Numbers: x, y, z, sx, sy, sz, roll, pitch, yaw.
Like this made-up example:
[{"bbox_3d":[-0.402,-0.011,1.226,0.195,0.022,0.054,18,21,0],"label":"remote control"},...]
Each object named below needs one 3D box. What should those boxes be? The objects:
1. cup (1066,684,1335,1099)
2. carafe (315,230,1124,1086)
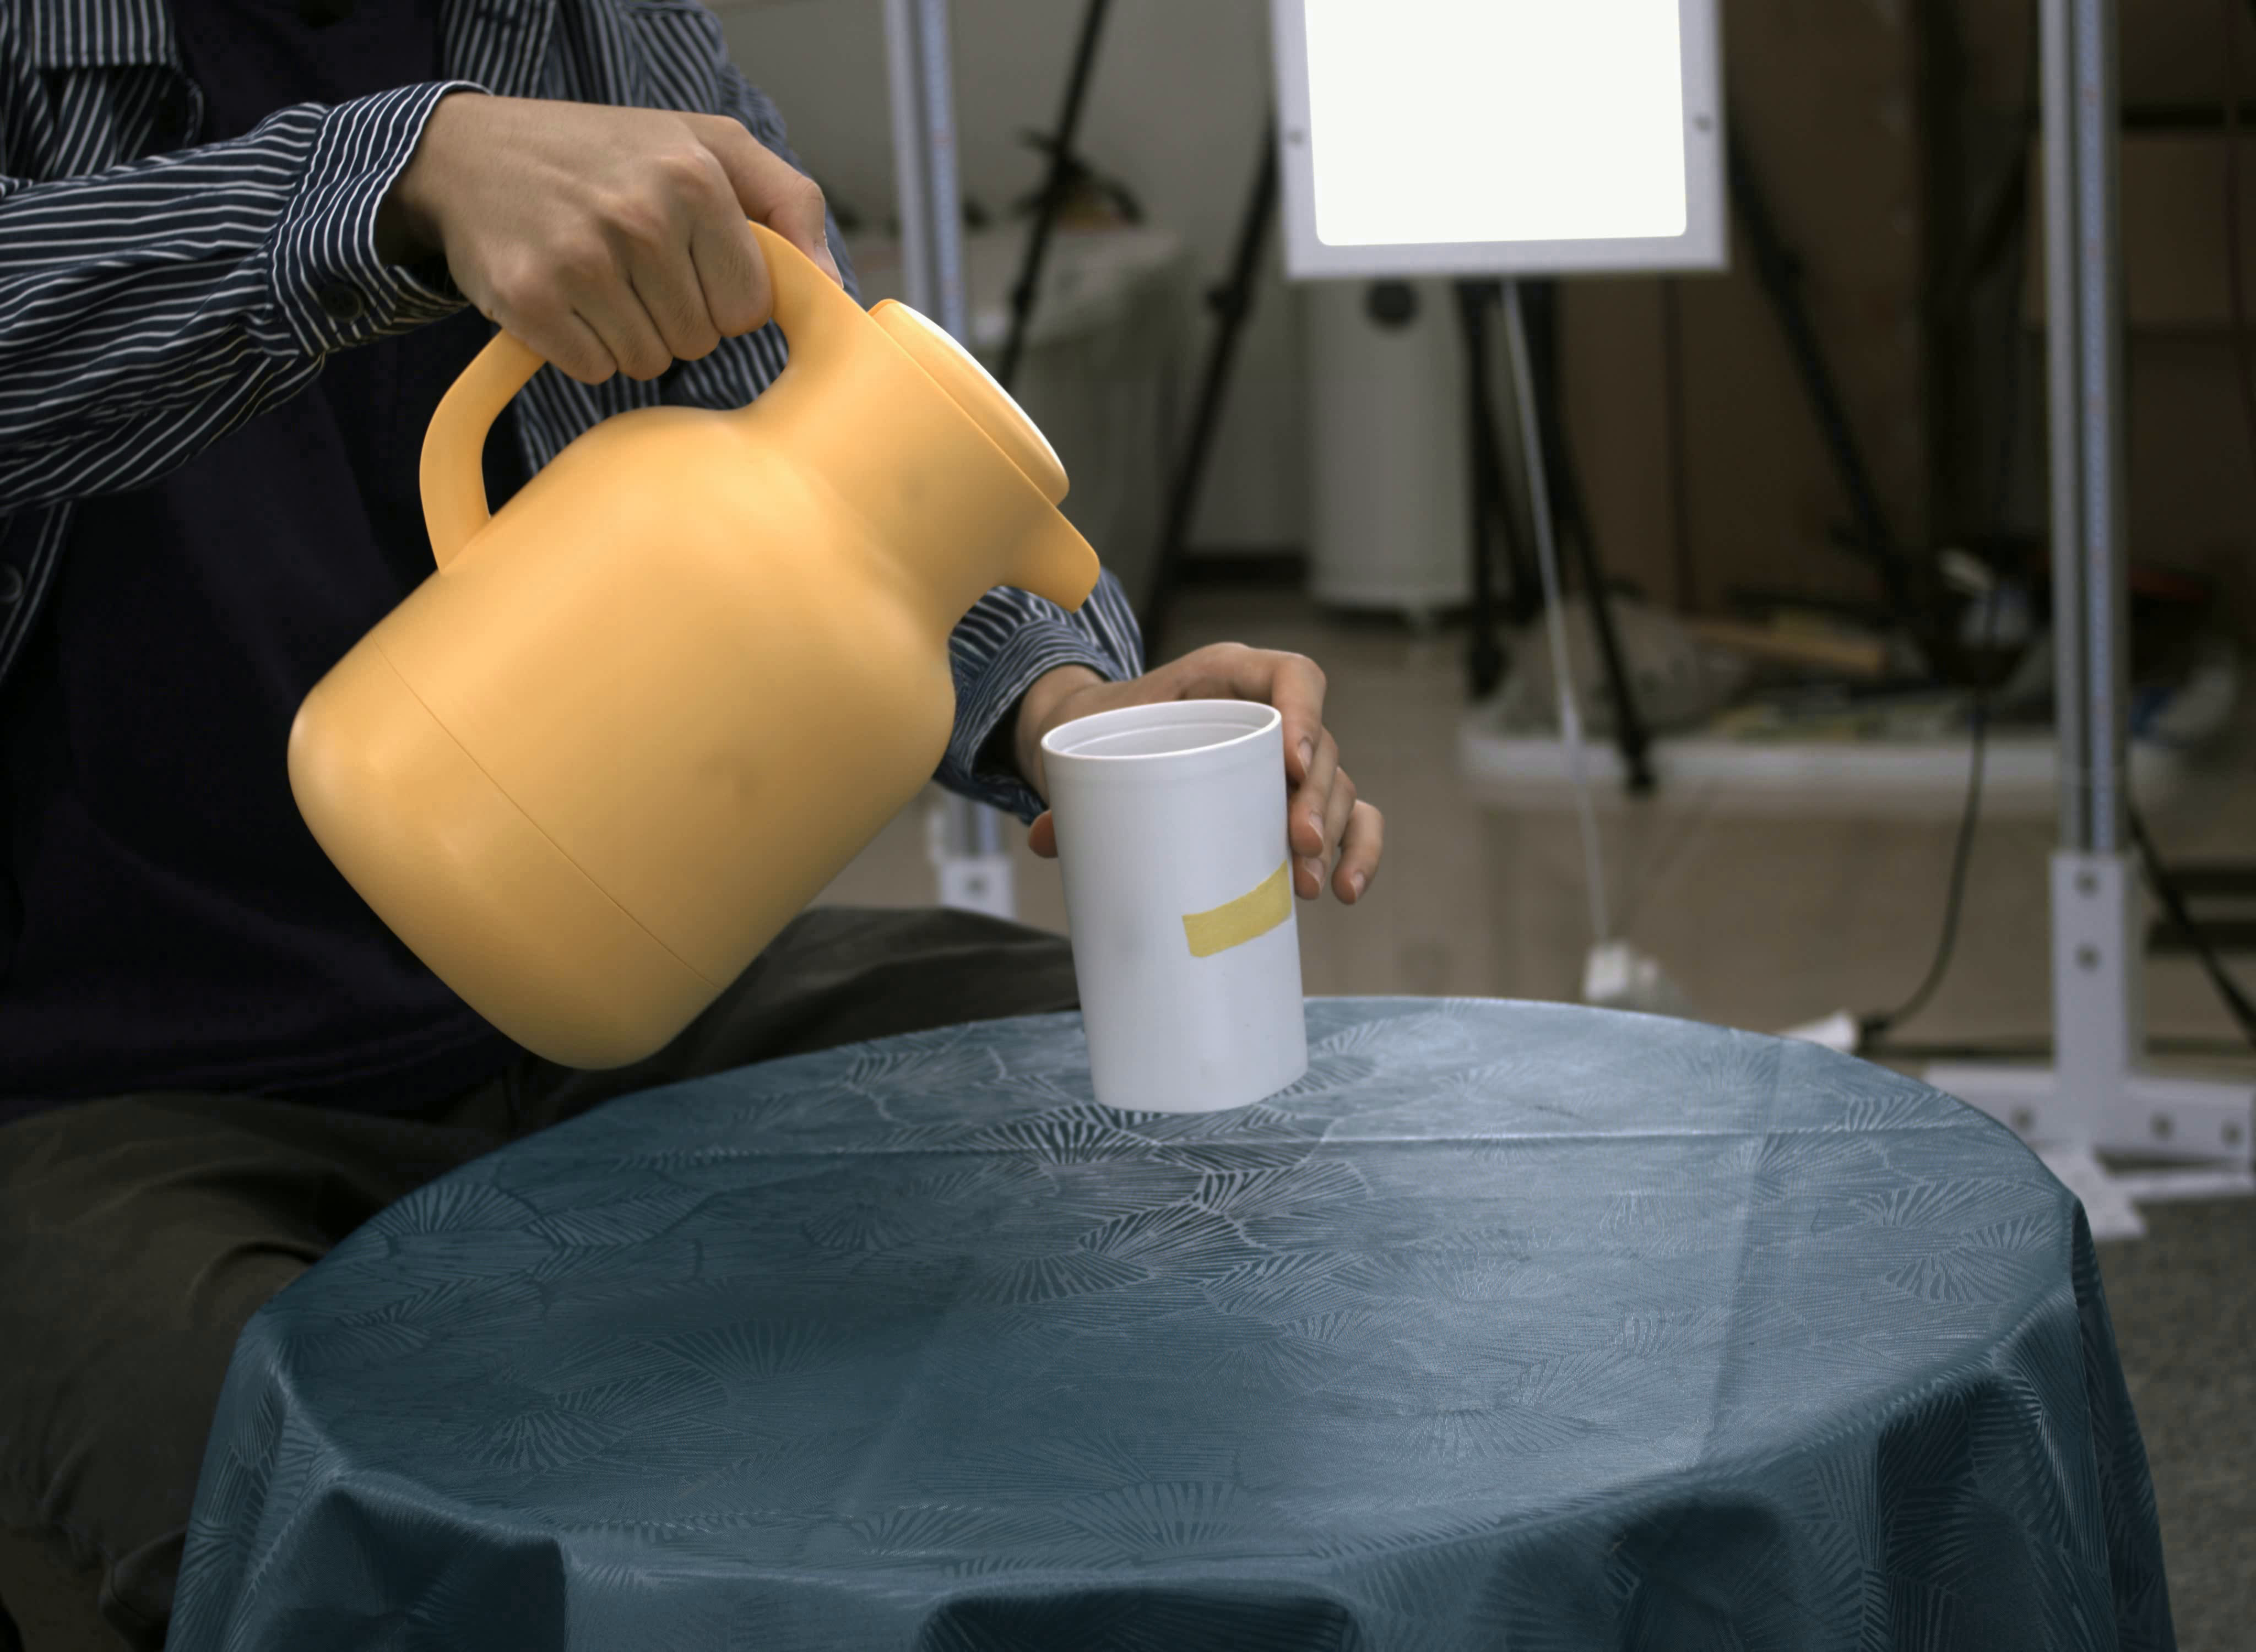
[{"bbox_3d":[0.027,0.022,1.838,0.081,0.126,0.081,-8,12,0],"label":"cup"},{"bbox_3d":[-0.143,-0.063,1.791,0.260,0.201,0.164,-44,10,1],"label":"carafe"}]
